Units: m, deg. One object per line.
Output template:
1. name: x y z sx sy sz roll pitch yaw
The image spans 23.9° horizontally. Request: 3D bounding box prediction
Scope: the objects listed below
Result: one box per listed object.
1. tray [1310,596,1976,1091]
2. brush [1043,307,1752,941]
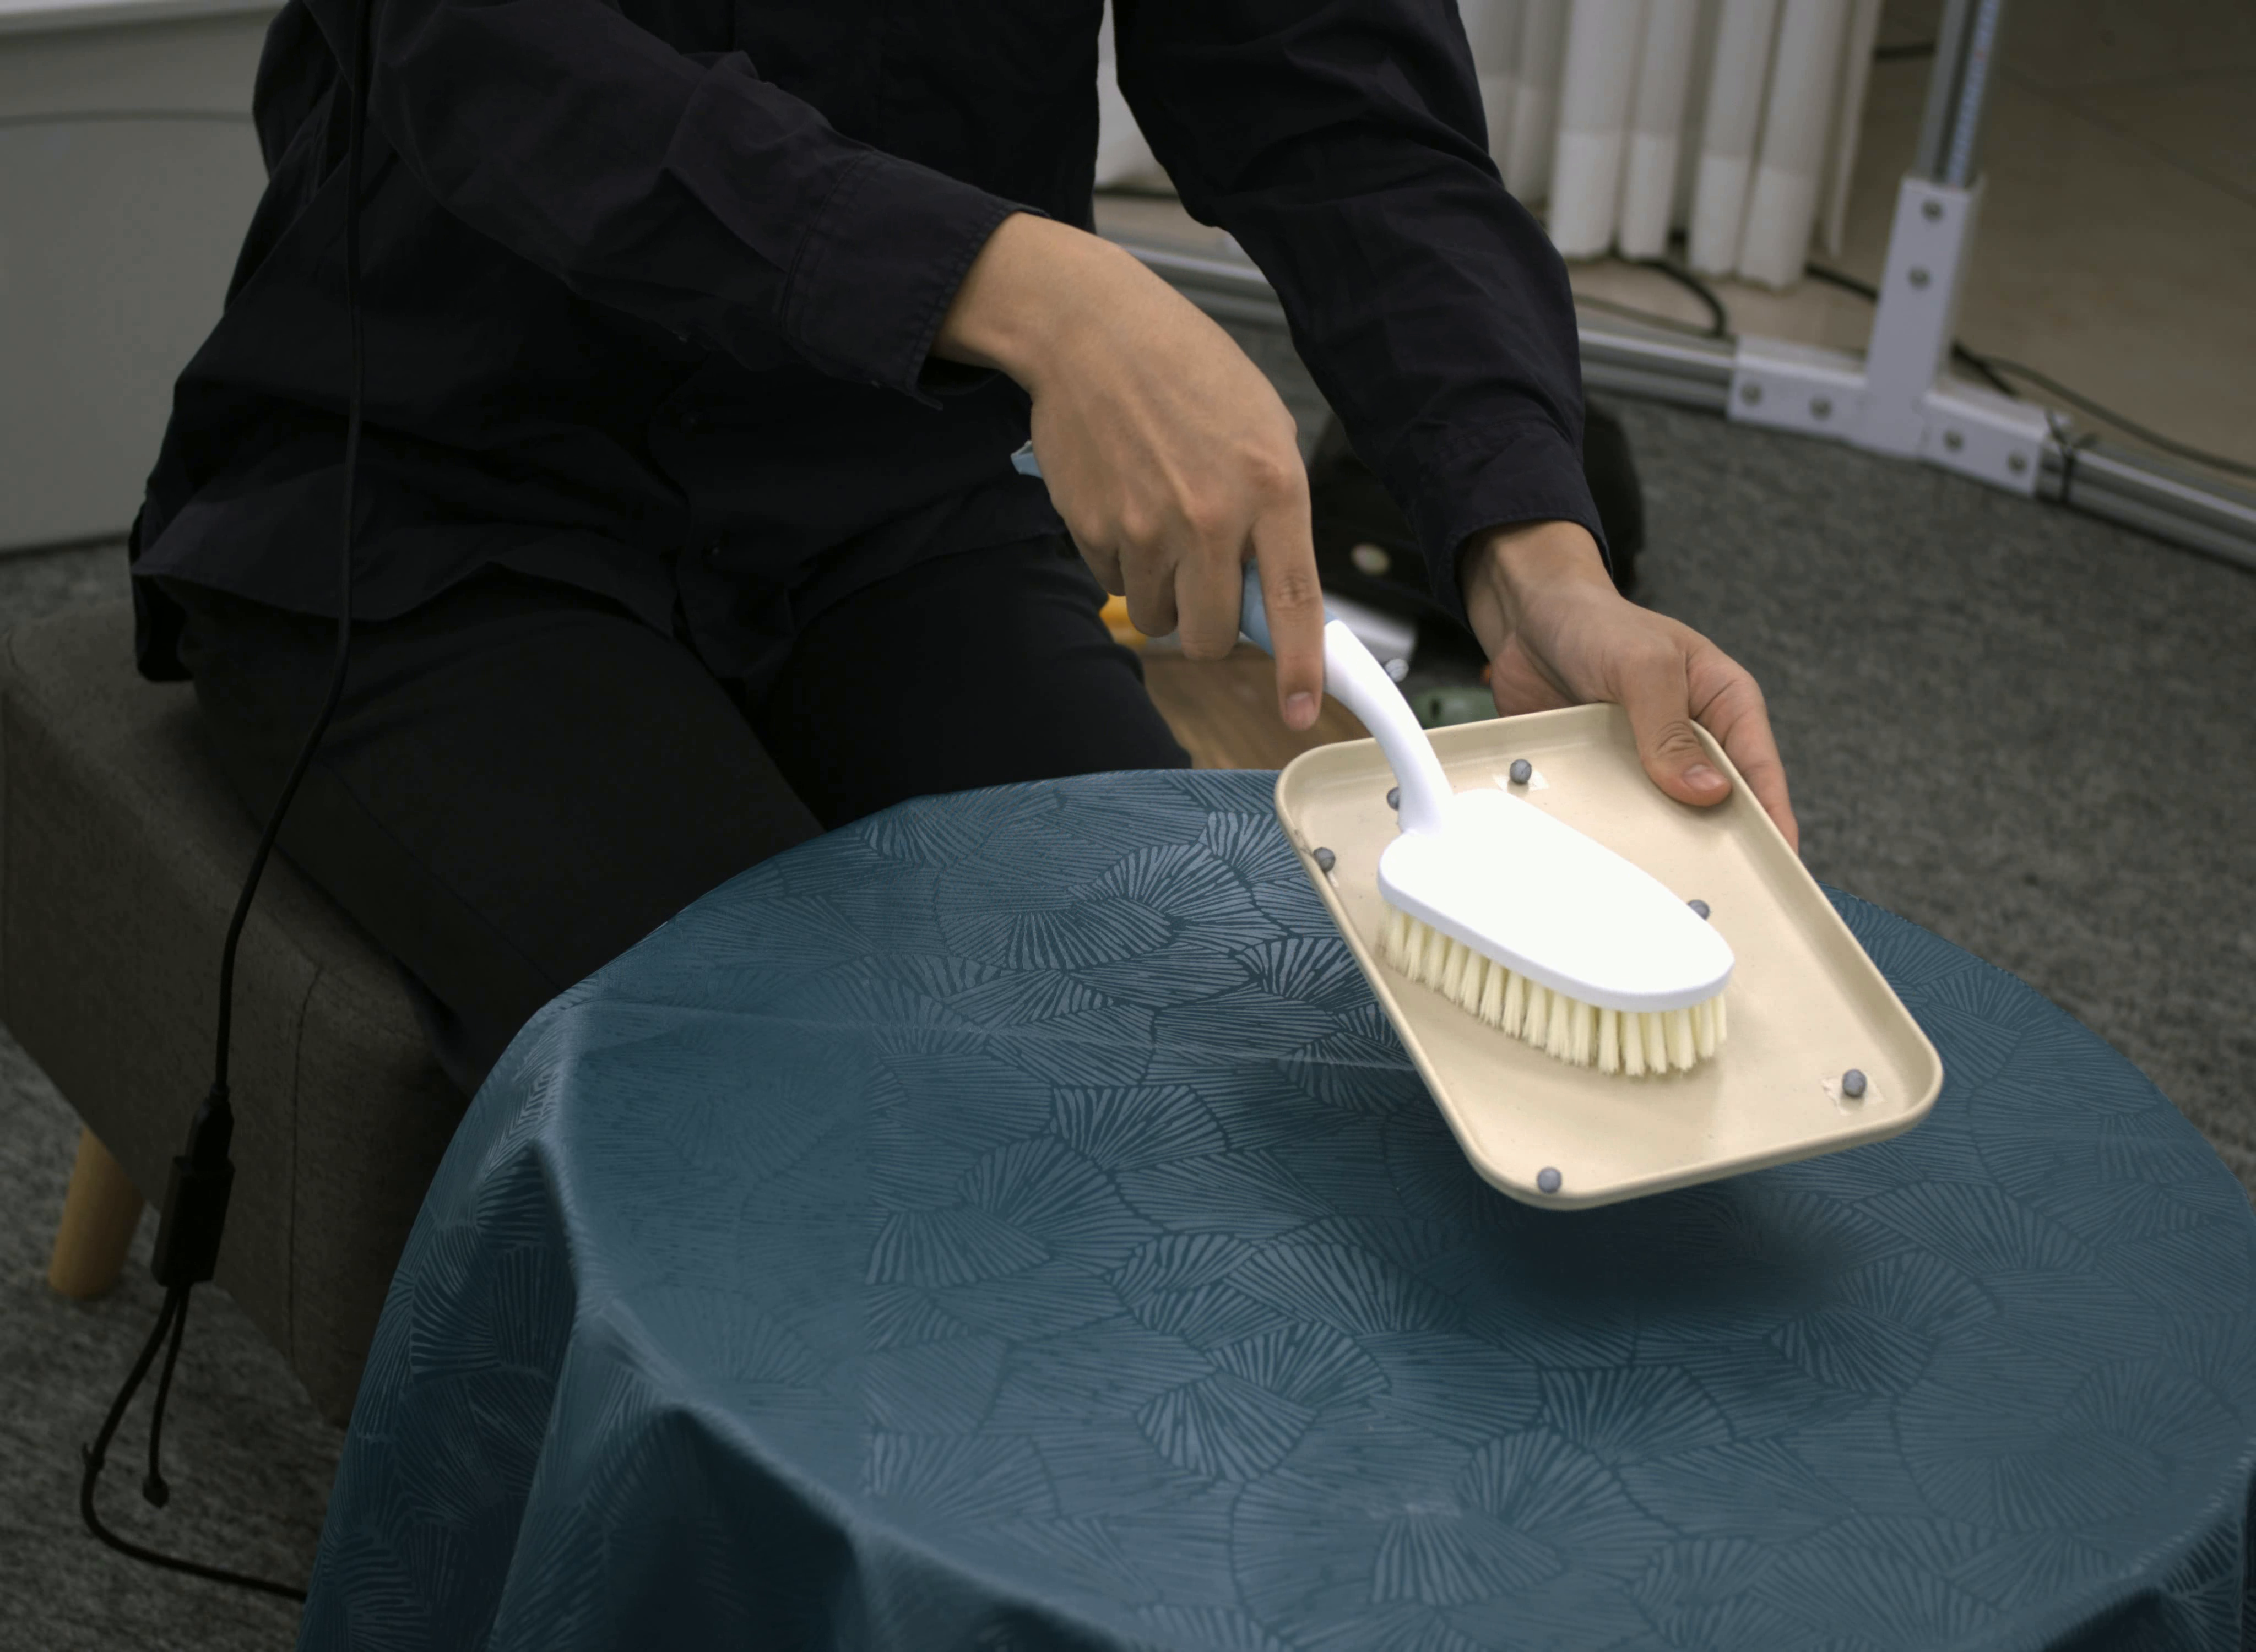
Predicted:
1. tray: 0.175 0.004 1.845 0.170 0.017 0.242 -10 41 -17
2. brush: 0.088 -0.063 1.863 0.327 0.084 0.082 39 12 21
